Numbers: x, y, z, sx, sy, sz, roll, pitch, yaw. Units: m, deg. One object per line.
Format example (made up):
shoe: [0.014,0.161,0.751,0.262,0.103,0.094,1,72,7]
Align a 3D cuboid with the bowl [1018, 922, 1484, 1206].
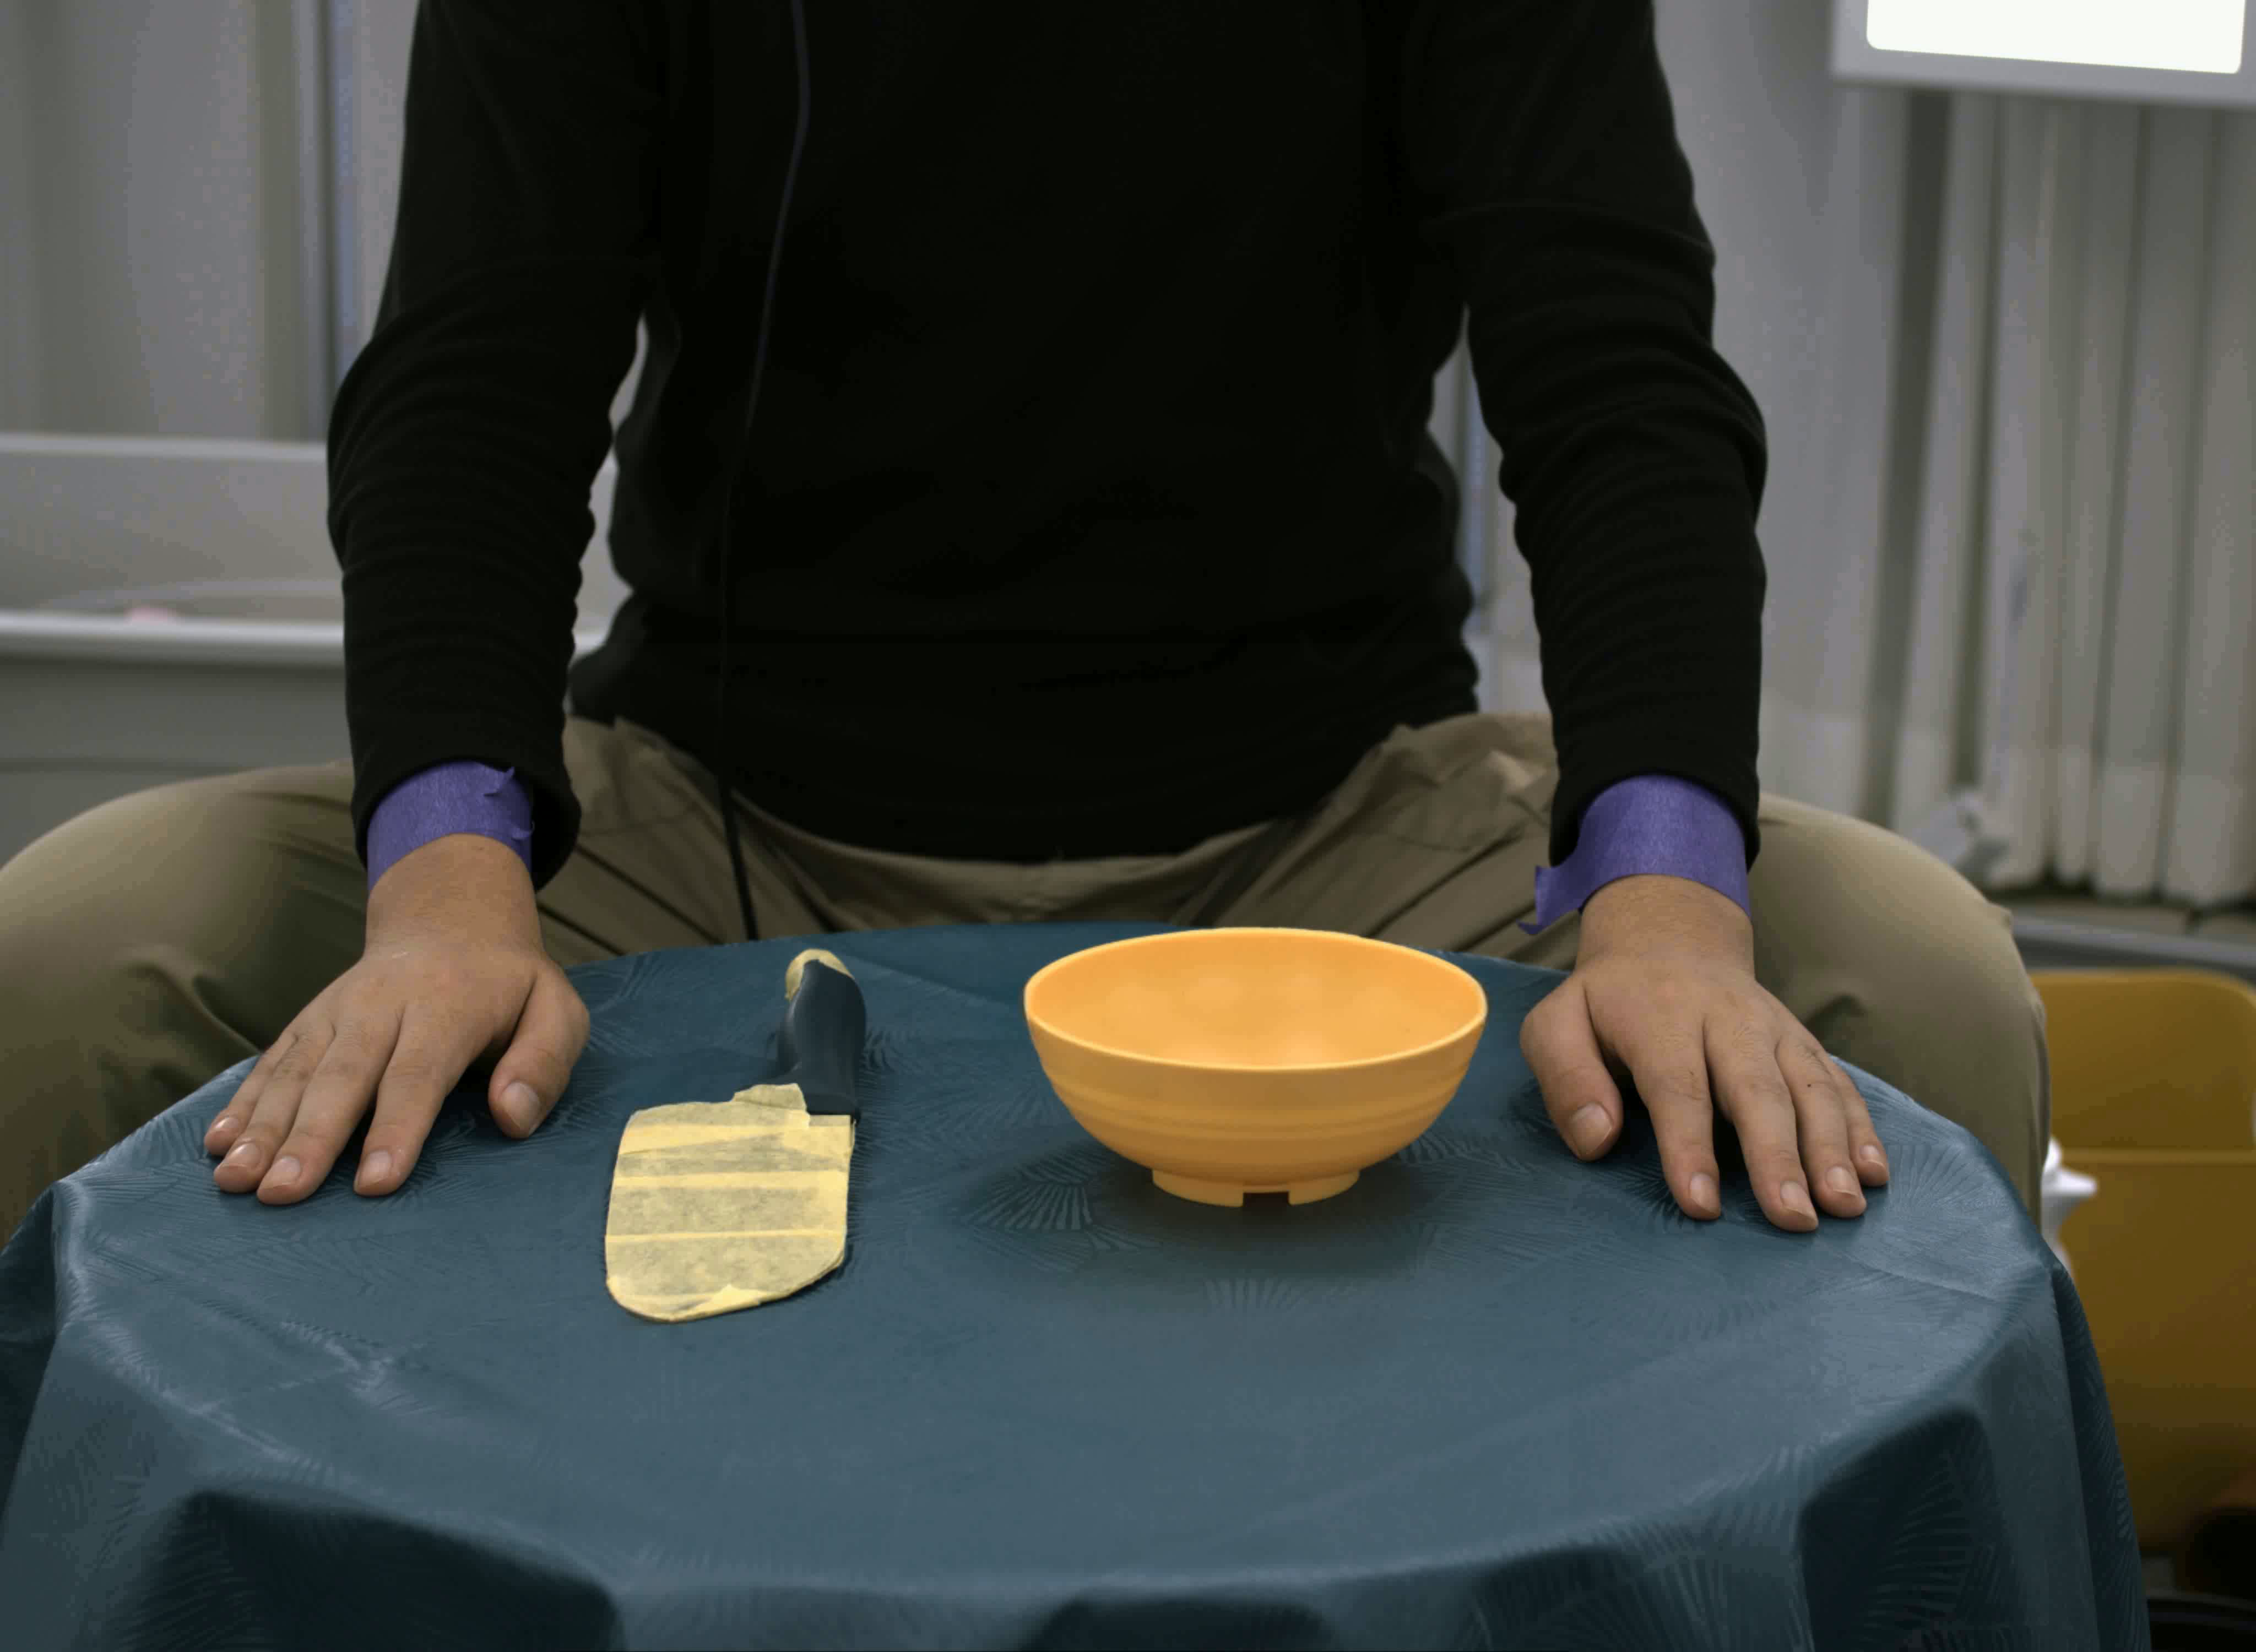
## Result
bowl: [0.037,0.079,1.633,0.145,0.060,0.144,3,16,0]

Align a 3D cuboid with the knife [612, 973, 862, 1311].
knife: [-0.119,0.098,1.645,0.081,0.027,0.288,2,16,1]
